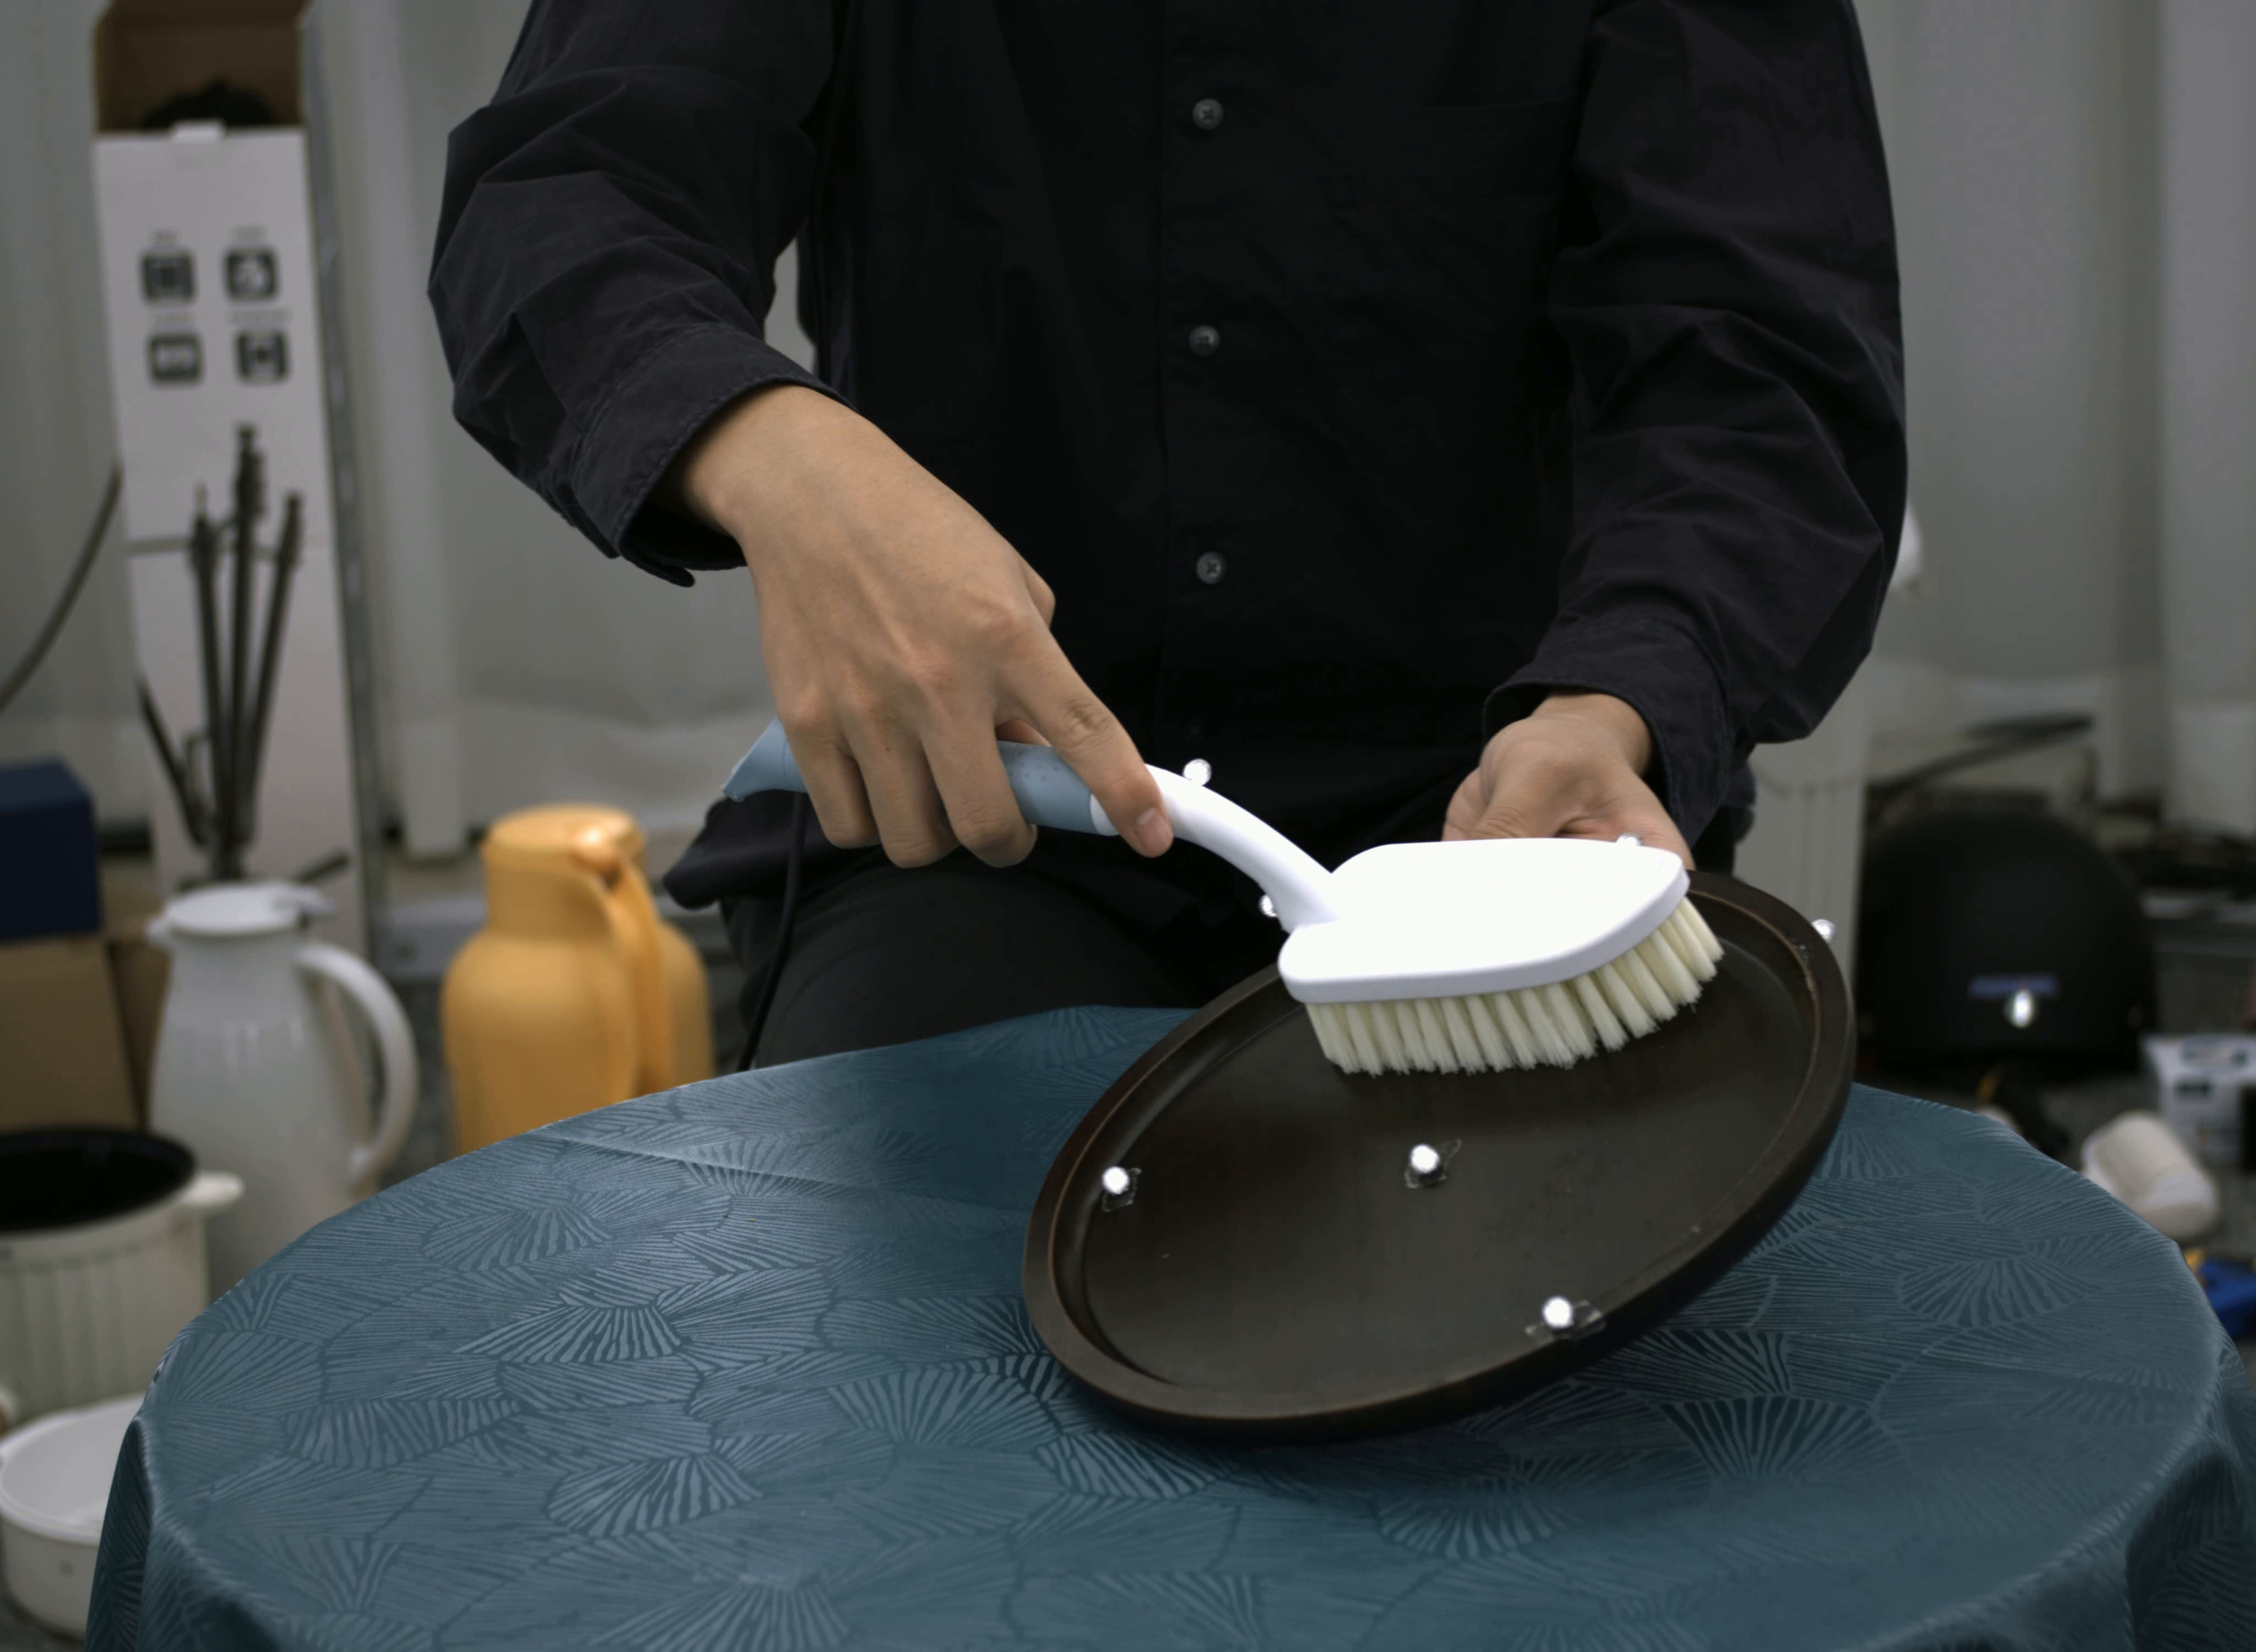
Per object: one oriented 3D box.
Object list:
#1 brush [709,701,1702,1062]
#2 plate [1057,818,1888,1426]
[{"bbox_3d":[0.021,0.021,1.658,0.326,0.085,0.082,8,2,27],"label":"brush"},{"bbox_3d":[0.099,0.085,1.571,0.254,0.029,0.258,-21,27,11],"label":"plate"}]
